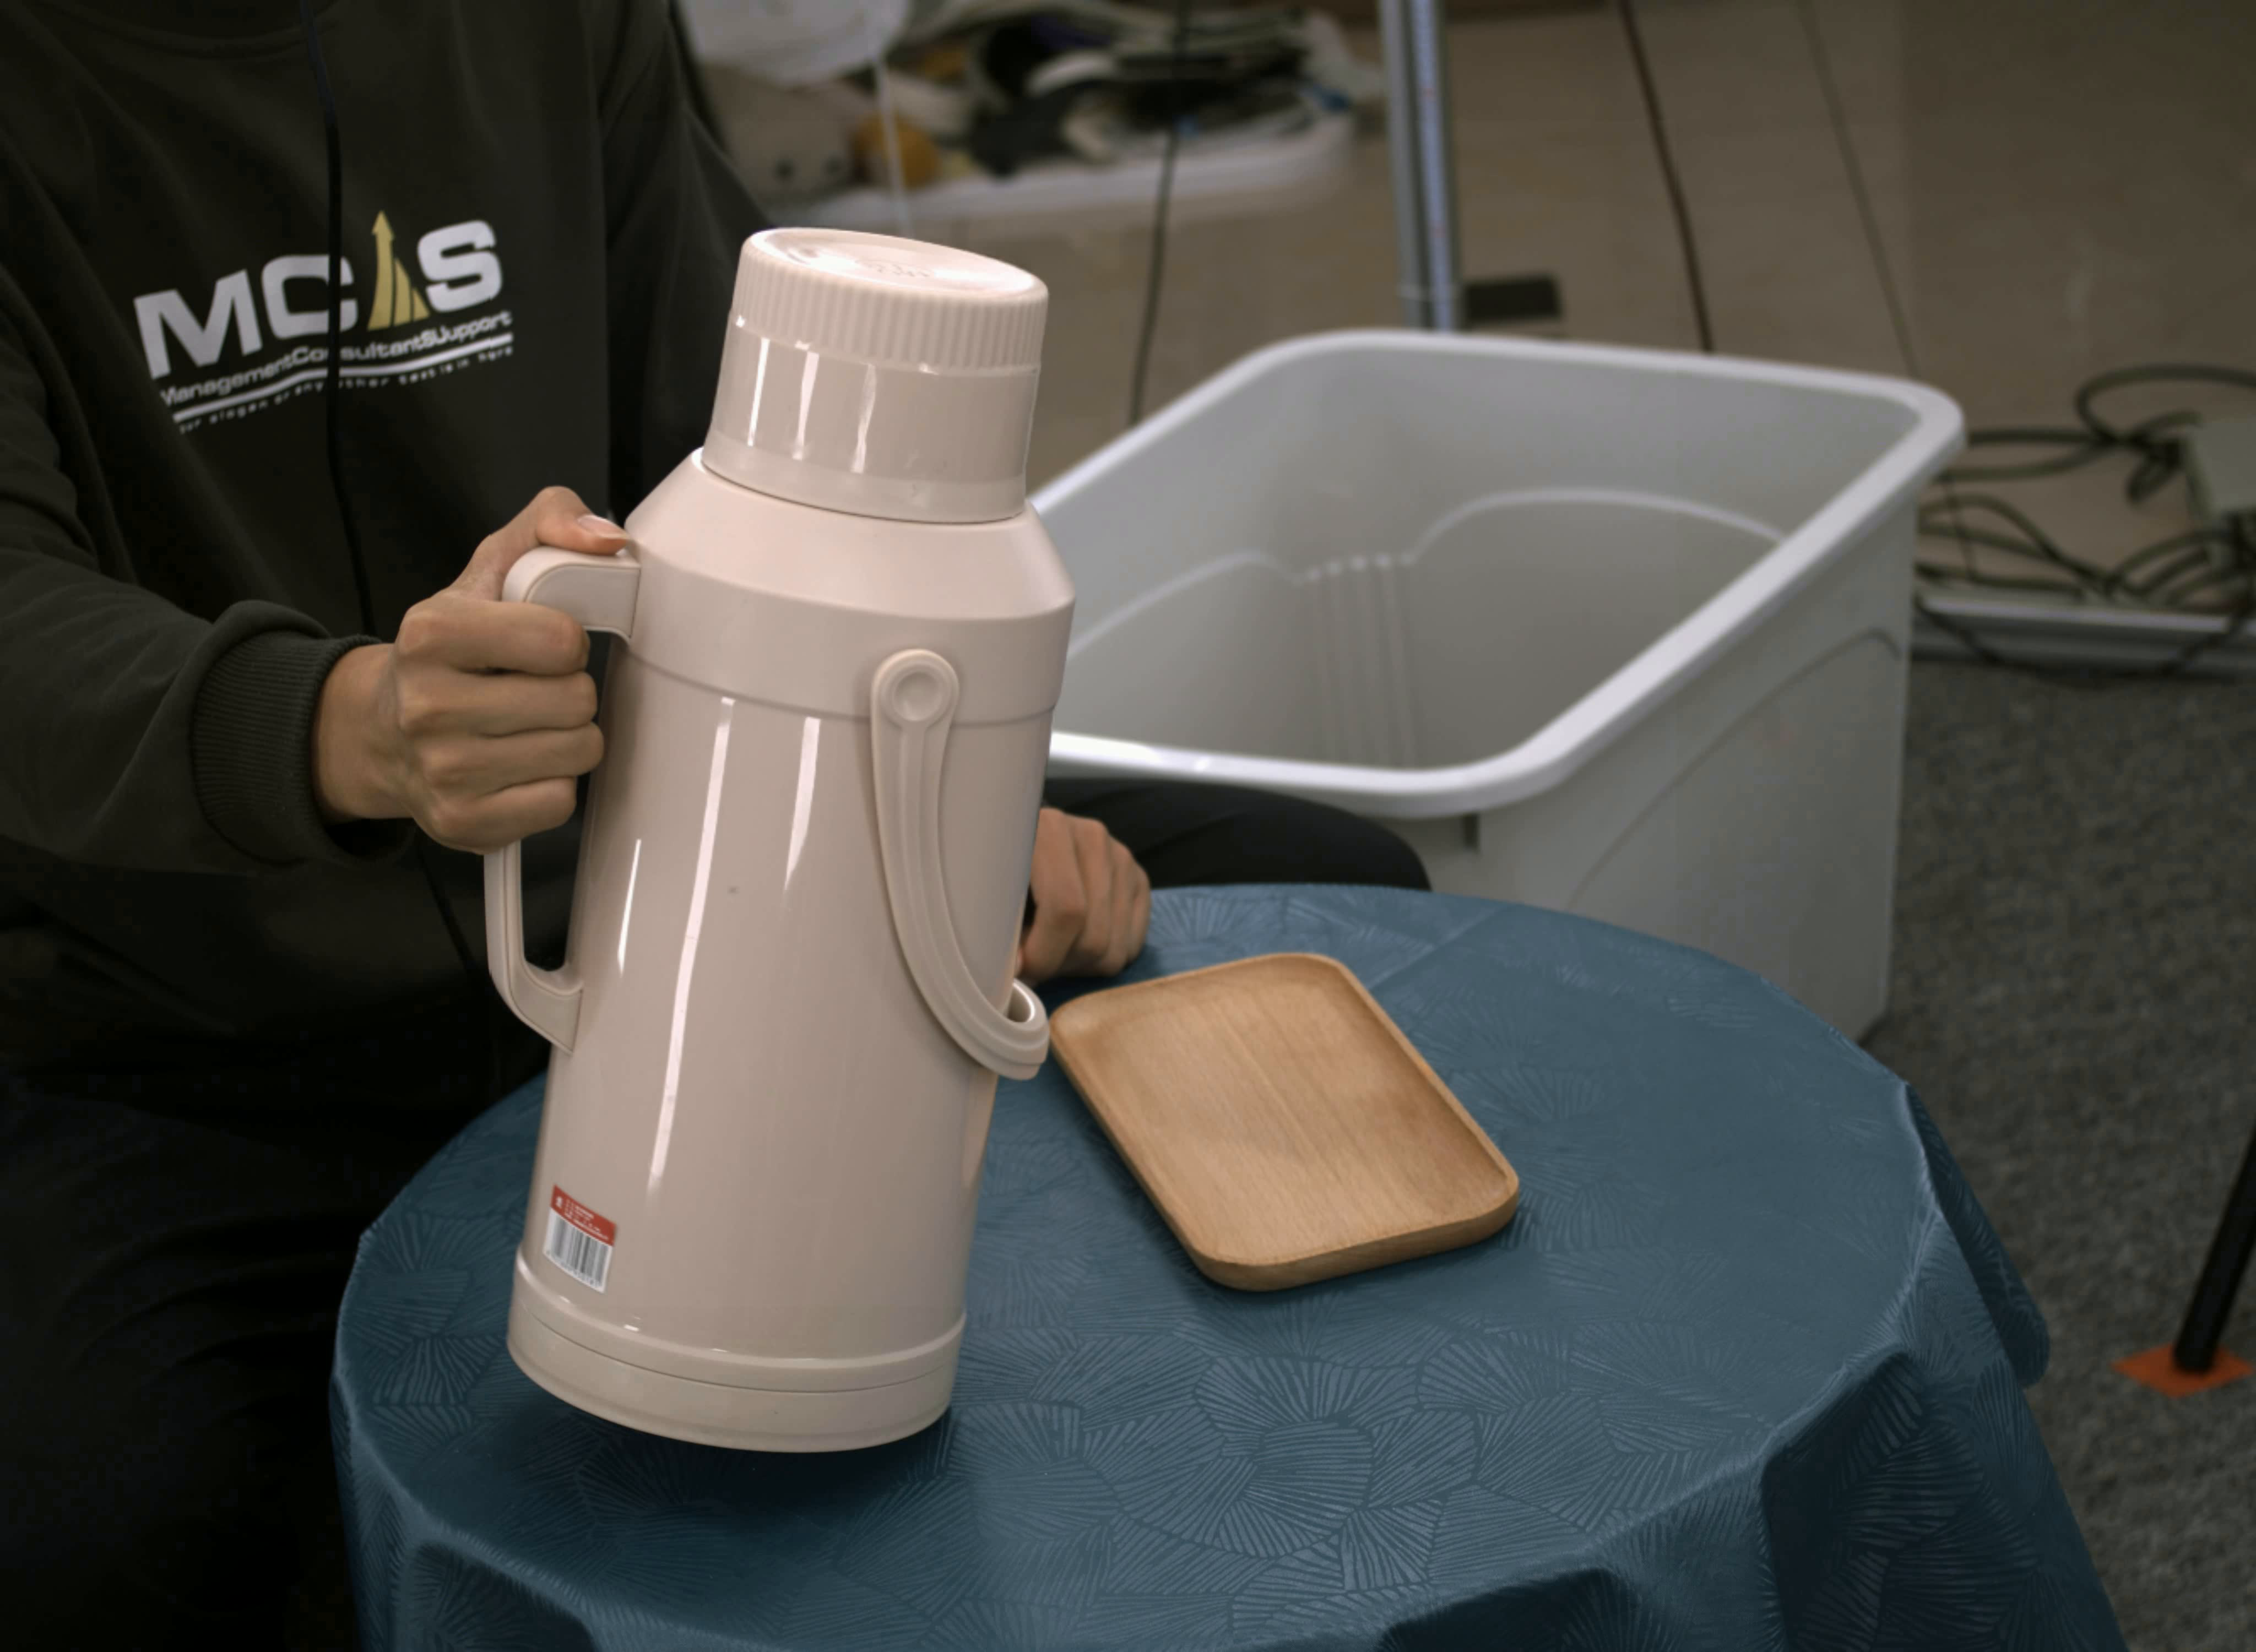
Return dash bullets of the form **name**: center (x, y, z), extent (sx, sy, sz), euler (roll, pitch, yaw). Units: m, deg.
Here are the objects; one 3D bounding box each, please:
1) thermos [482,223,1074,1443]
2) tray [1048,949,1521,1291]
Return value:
- **thermos**: center (-0.124, -0.001, 1.948), extent (0.207, 0.411, 0.173), euler (3, 19, -23)
- **tray**: center (0.057, 0.110, 2.176), extent (0.130, 0.023, 0.247), euler (-10, 24, -13)
